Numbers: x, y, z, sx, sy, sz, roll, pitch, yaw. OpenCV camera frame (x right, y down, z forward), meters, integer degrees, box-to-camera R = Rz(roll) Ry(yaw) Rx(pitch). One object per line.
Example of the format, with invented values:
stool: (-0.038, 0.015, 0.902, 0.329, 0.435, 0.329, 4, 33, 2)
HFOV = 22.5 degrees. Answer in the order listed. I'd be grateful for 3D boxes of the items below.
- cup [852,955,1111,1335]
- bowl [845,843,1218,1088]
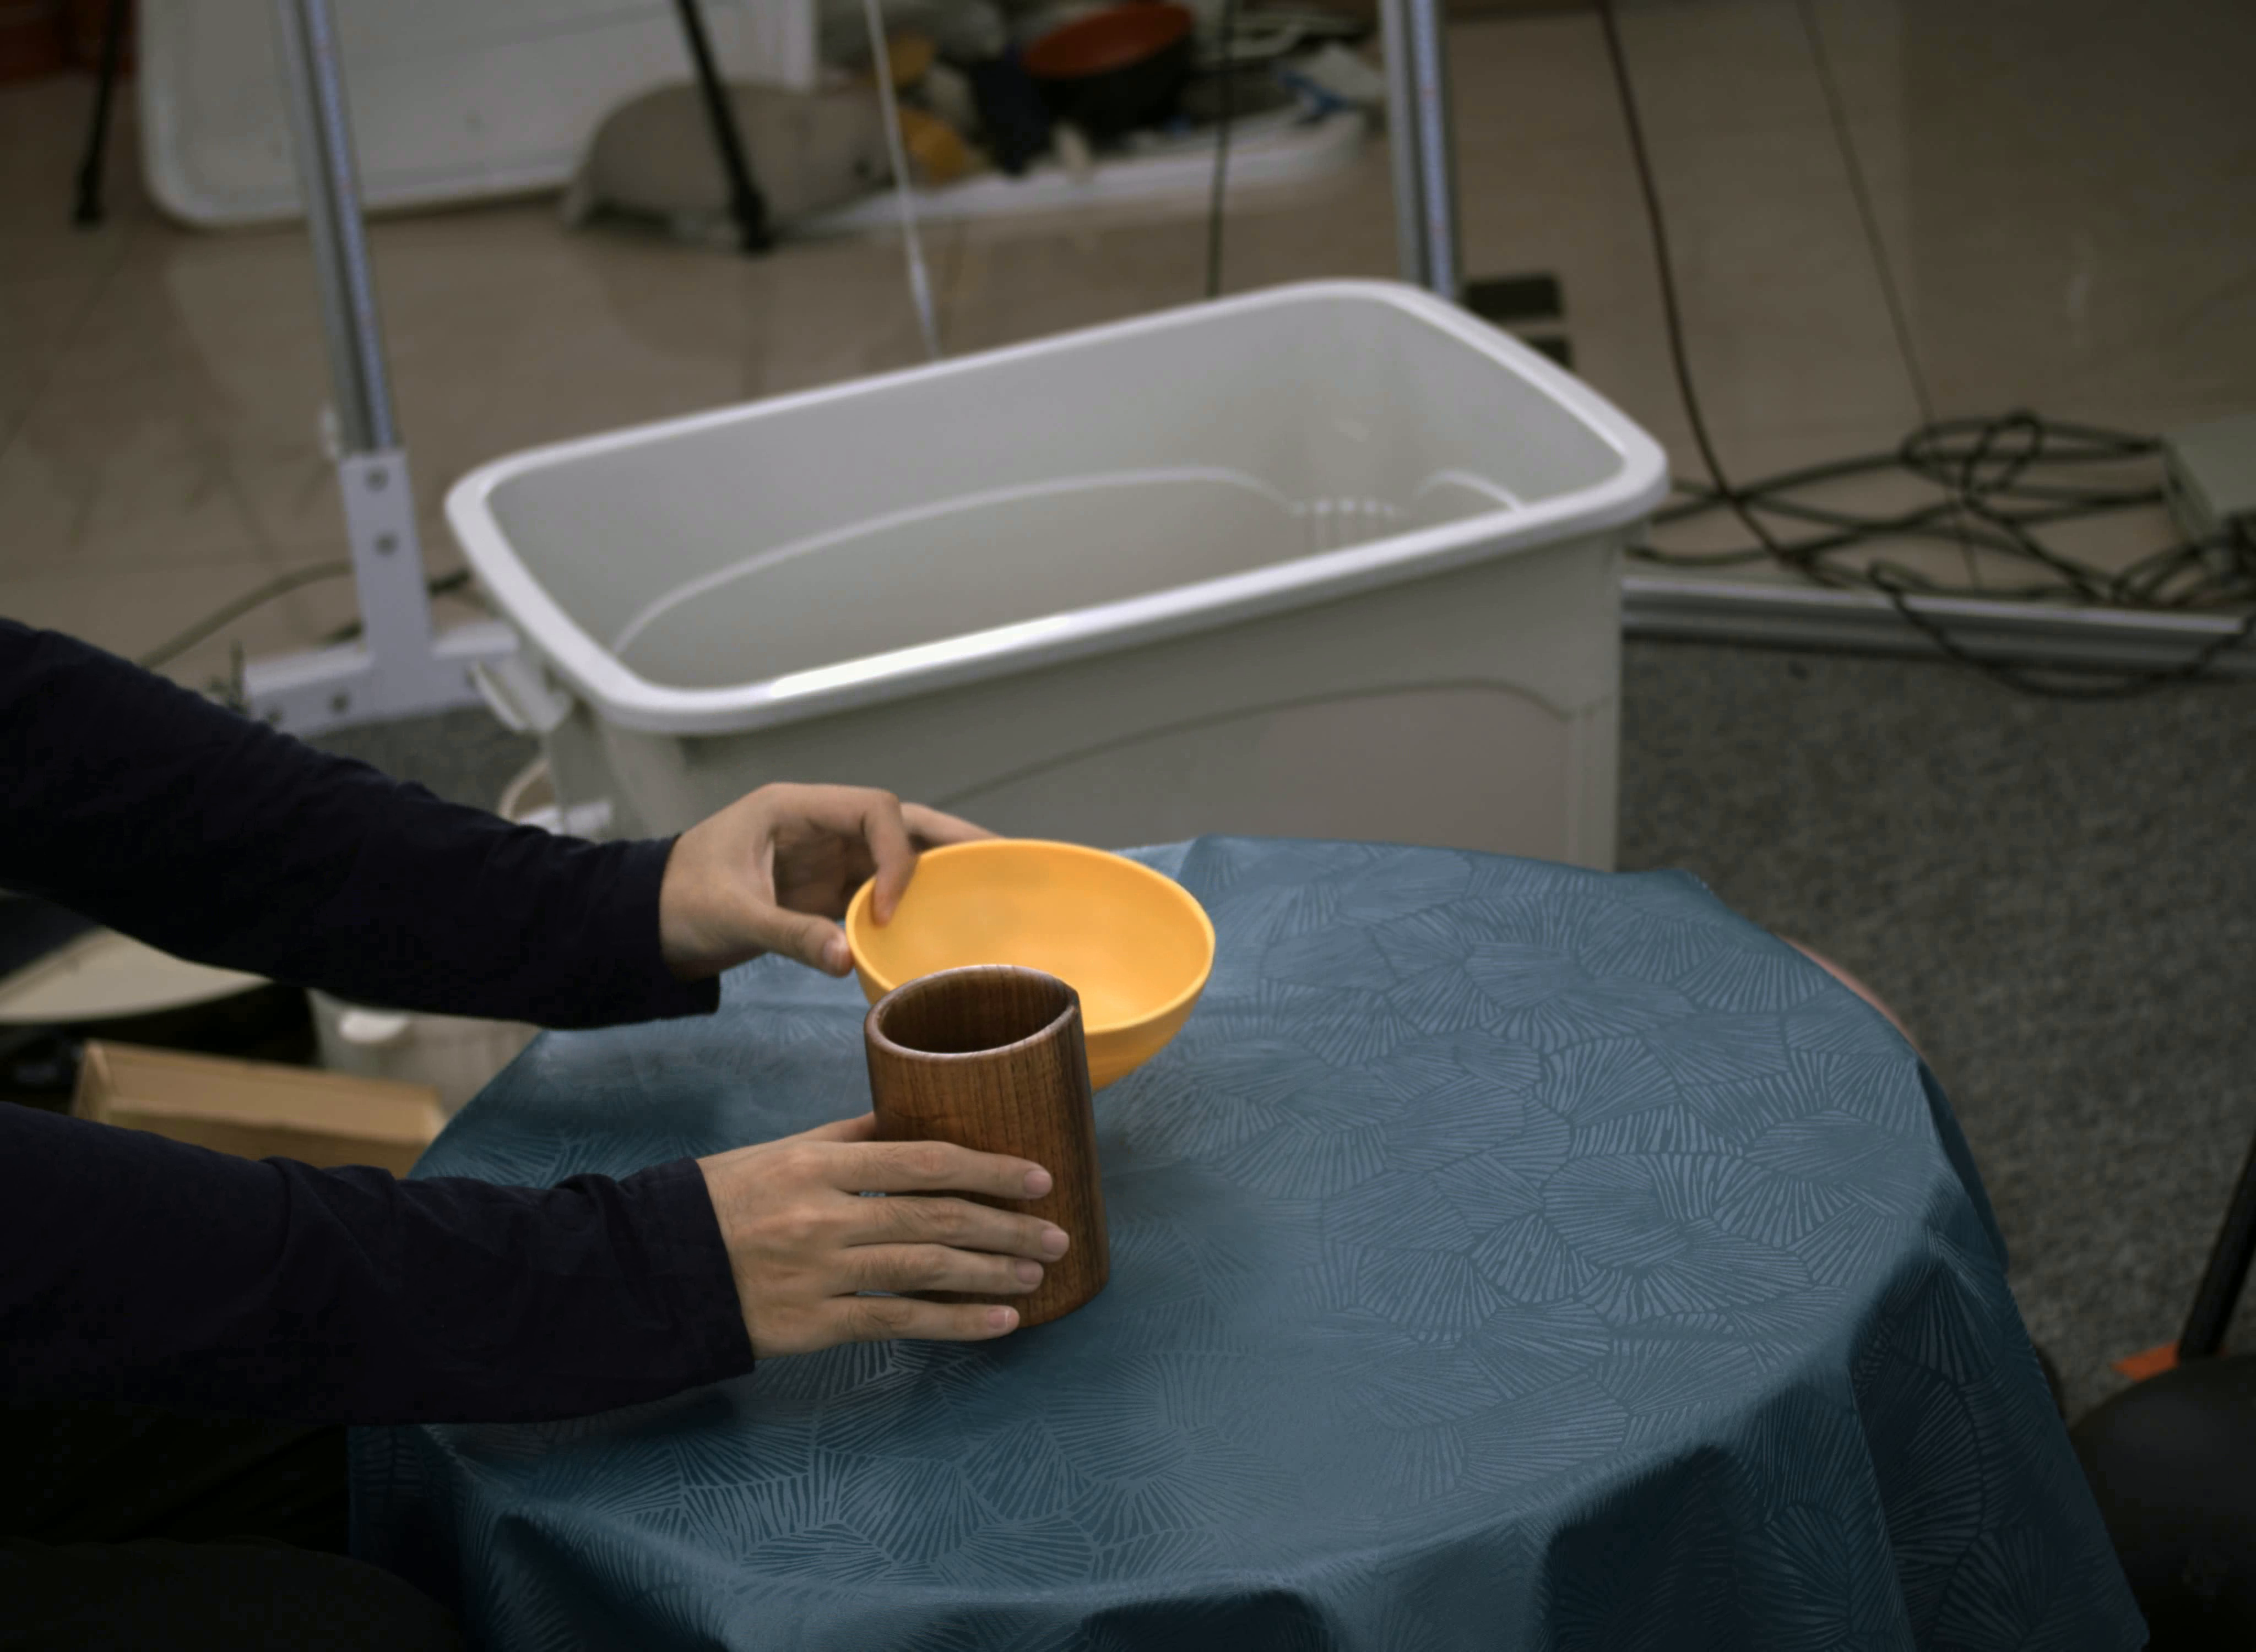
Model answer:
cup: (-0.052, 0.116, 2.068, 0.087, 0.120, 0.086, -6, 22, 2)
bowl: (-0.038, 0.065, 2.194, 0.145, 0.061, 0.143, 2, 30, -1)
